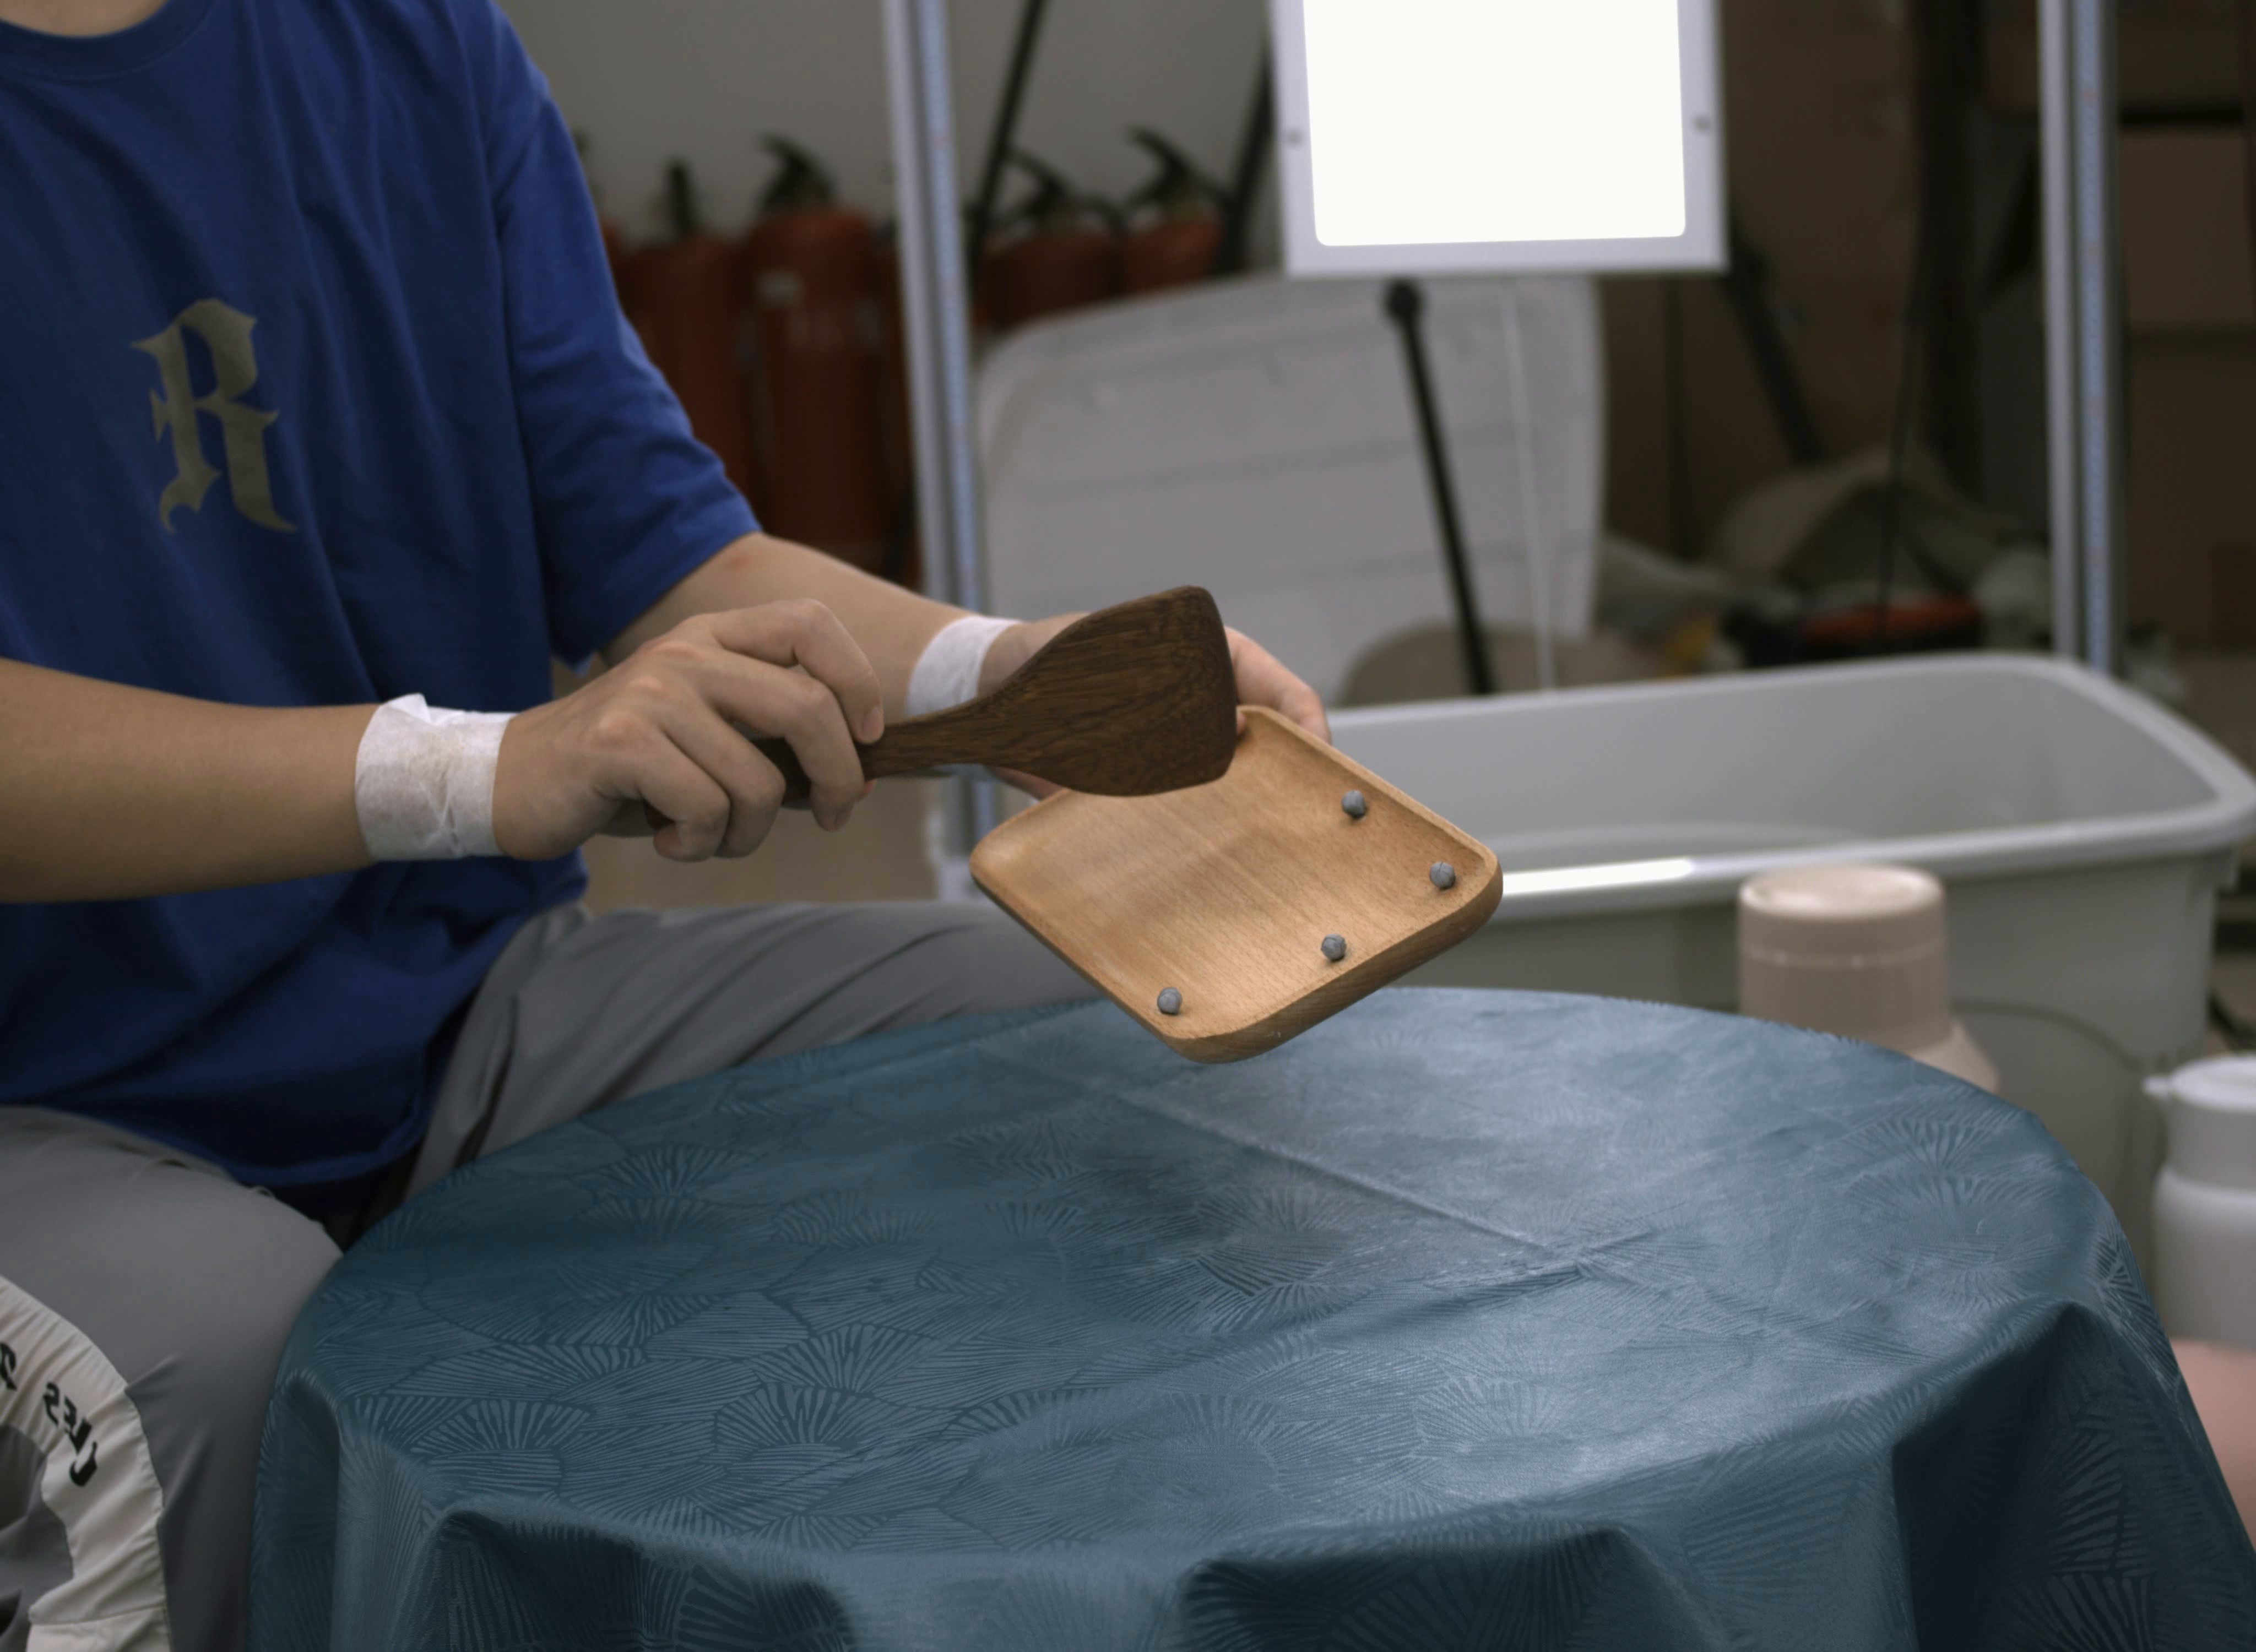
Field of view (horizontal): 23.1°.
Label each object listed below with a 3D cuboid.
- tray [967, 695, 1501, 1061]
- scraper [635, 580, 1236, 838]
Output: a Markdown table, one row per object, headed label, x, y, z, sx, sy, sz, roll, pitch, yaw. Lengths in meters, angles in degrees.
| label | x | y | z | sx | sy | sz | roll | pitch | yaw |
| --- | --- | --- | --- | --- | --- | --- | --- | --- | --- |
| tray | 0.034 | 0.015 | 1.887 | 0.129 | 0.023 | 0.253 | -27 | 22 | -10 |
| scraper | -0.066 | -0.030 | 1.896 | 0.210 | 0.076 | 0.011 | -12 | 23 | -2 |
